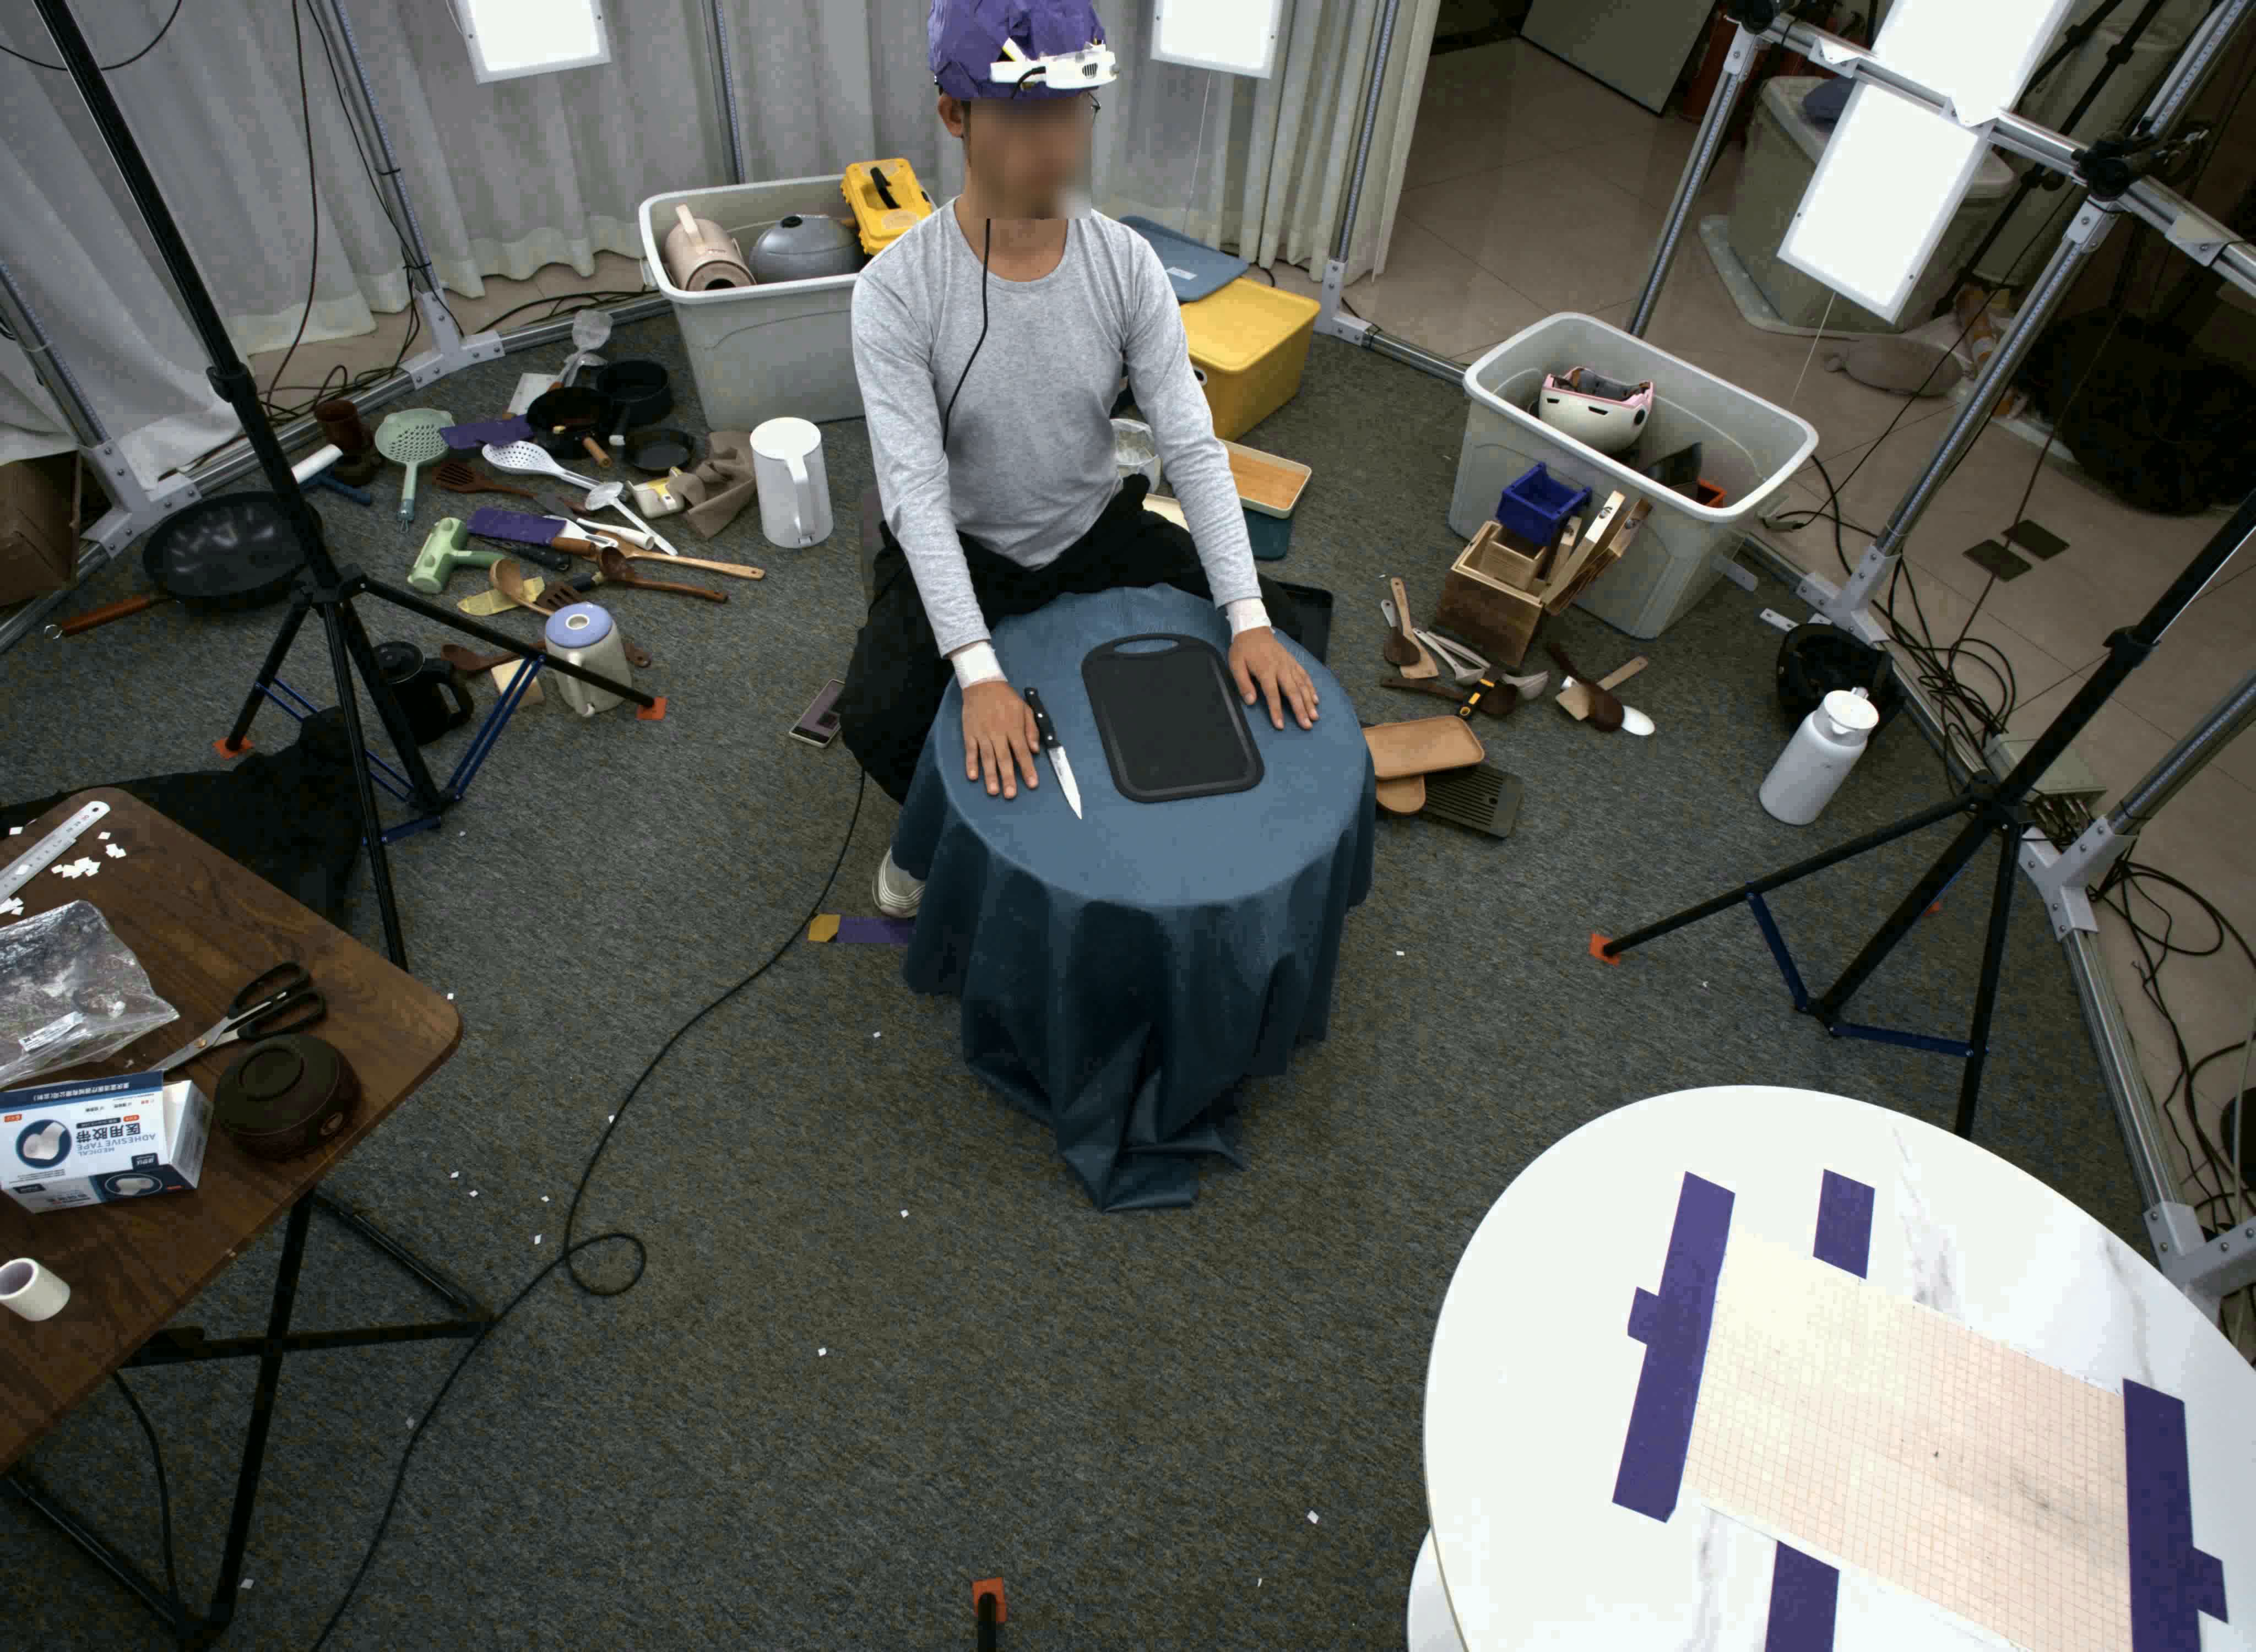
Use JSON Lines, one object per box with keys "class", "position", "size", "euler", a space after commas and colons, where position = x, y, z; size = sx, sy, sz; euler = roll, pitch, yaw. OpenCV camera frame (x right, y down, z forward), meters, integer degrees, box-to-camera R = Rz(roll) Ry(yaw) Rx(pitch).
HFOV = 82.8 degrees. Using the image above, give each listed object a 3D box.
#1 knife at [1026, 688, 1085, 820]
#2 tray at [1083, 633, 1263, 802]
{"class": "knife", "position": [-0.099, -0.099, 1.739], "size": [0.024, 0.016, 0.244], "euler": [-14, 54, -14]}
{"class": "tray", "position": [0.056, -0.164, 1.809], "size": [0.211, 0.009, 0.333], "euler": [-7, 50, -10]}
